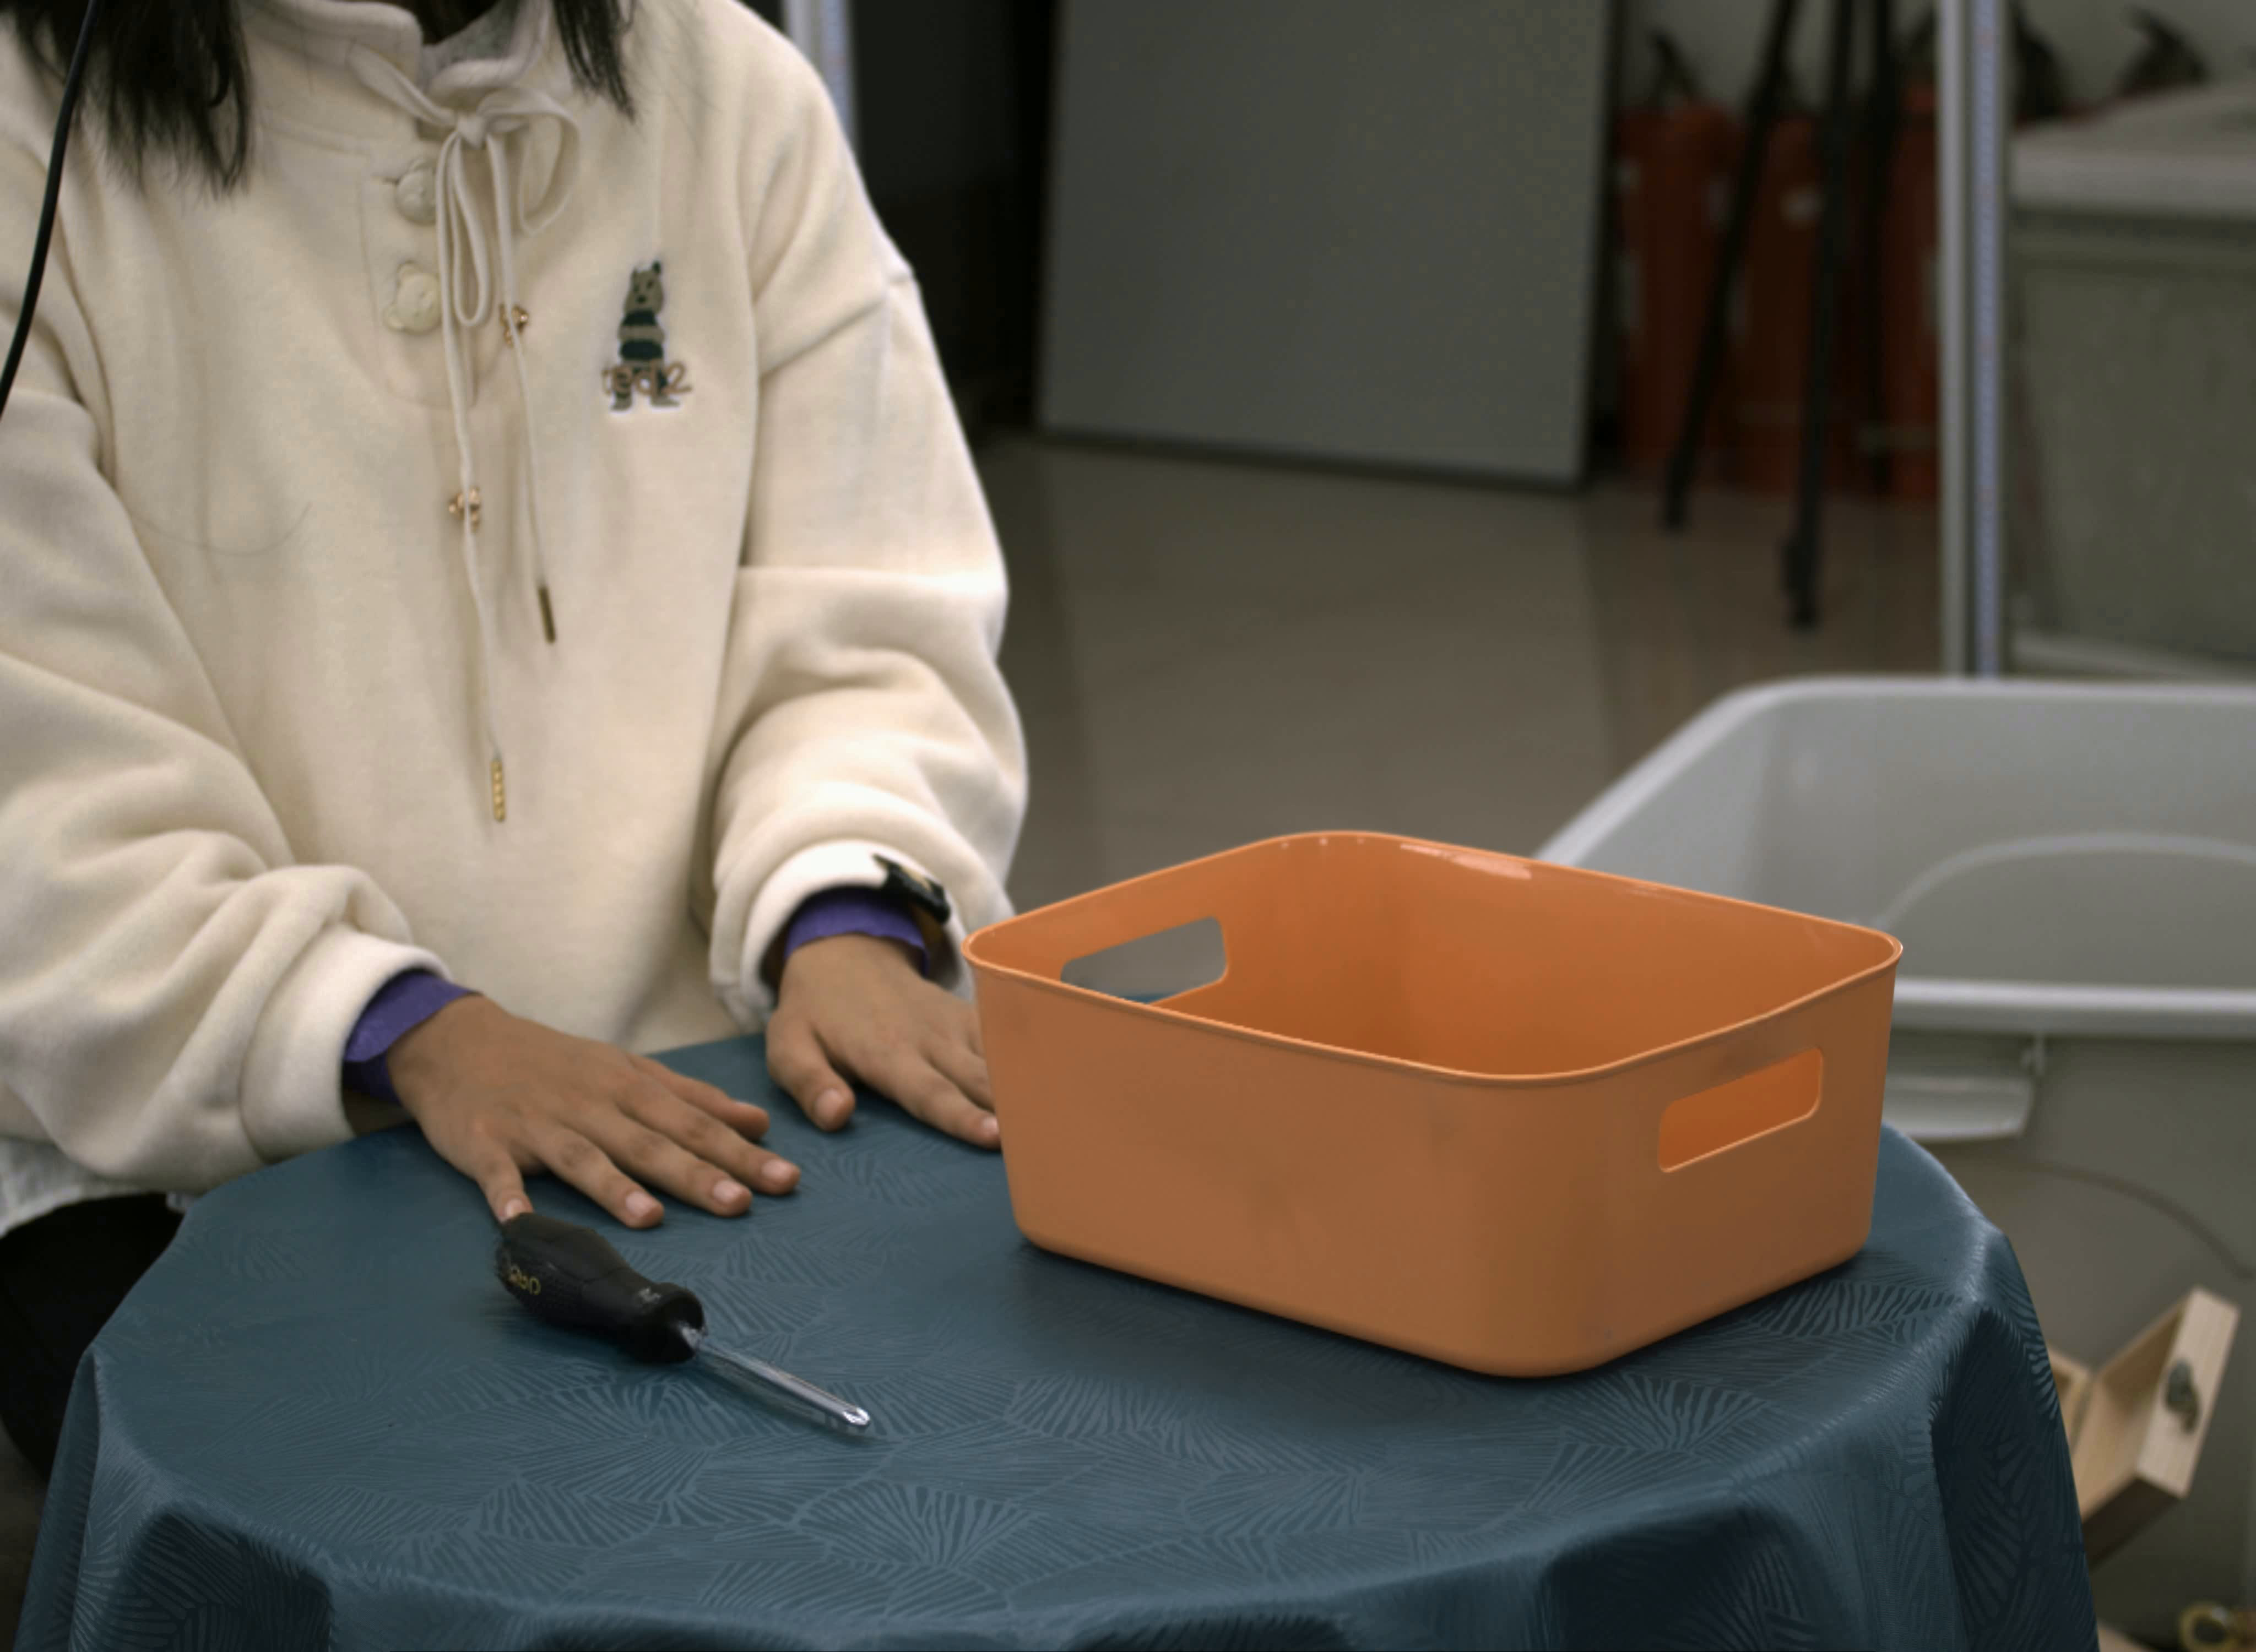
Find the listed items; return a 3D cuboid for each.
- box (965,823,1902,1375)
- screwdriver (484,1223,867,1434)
[{"bbox_3d":[0.095,0.082,1.681,0.195,0.103,0.276,-17,19,-41],"label":"box"},{"bbox_3d":[-0.138,0.156,1.630,0.031,0.032,0.198,-12,20,-33],"label":"screwdriver"}]
